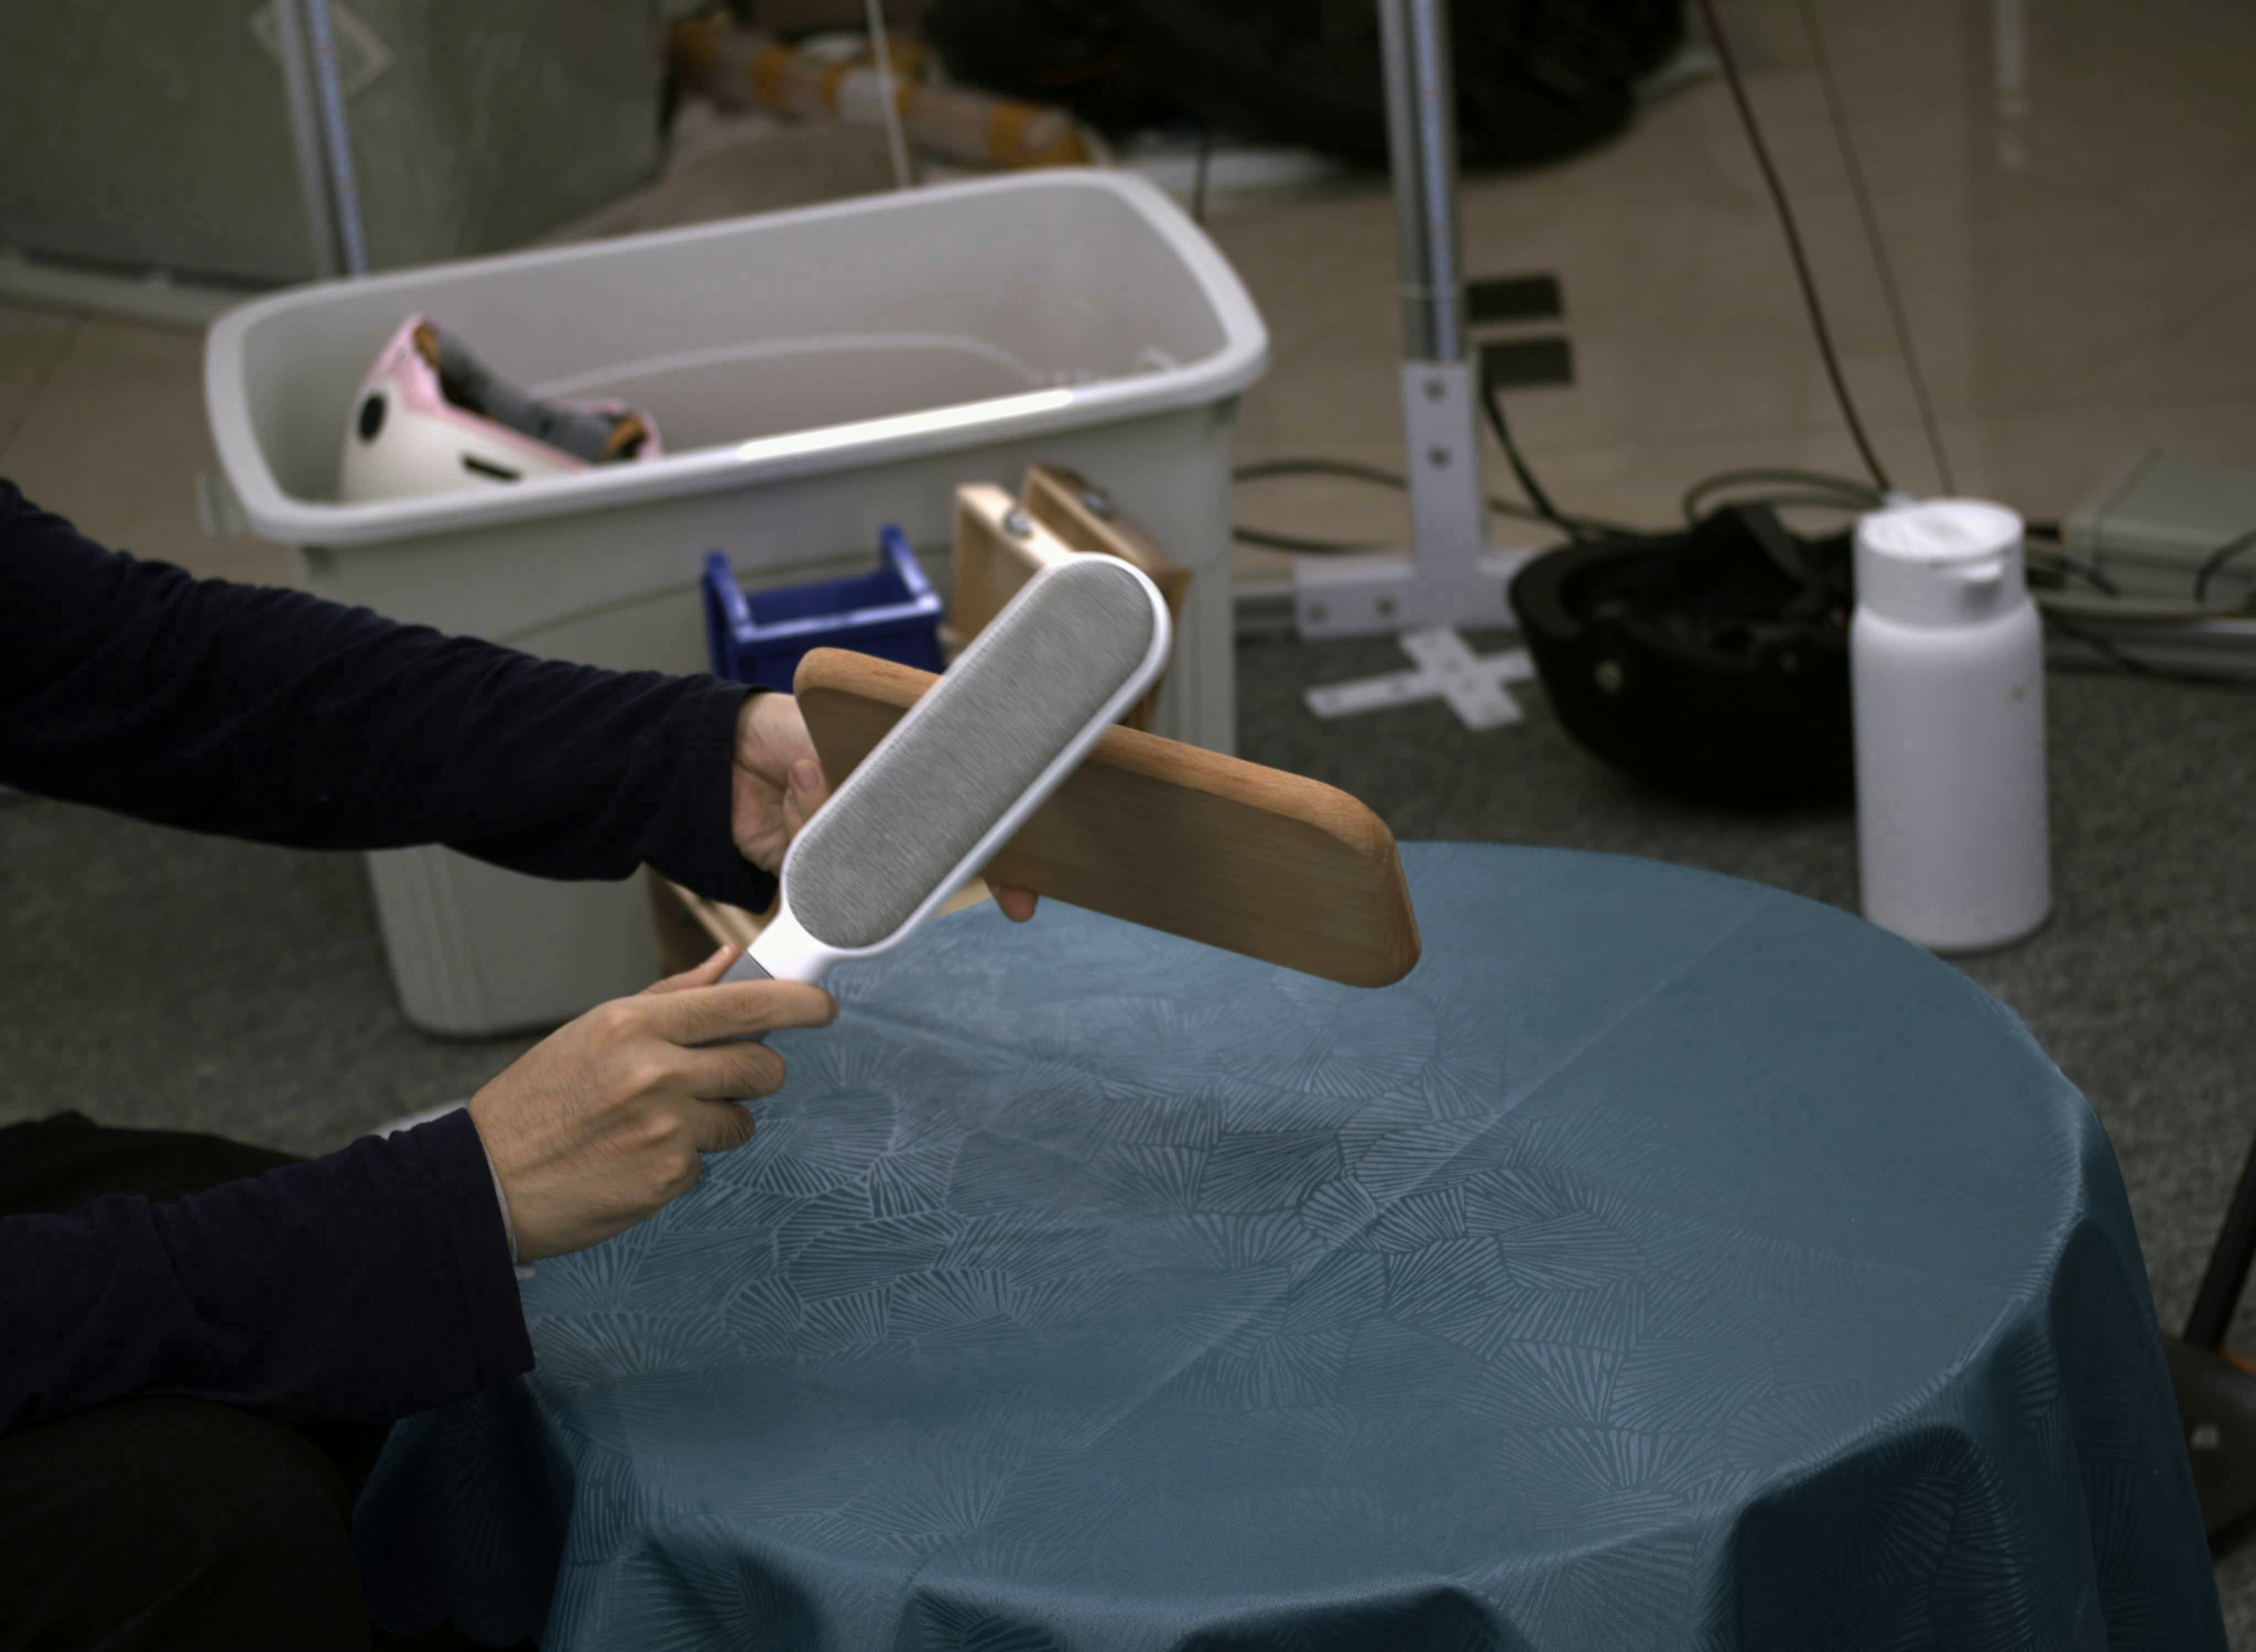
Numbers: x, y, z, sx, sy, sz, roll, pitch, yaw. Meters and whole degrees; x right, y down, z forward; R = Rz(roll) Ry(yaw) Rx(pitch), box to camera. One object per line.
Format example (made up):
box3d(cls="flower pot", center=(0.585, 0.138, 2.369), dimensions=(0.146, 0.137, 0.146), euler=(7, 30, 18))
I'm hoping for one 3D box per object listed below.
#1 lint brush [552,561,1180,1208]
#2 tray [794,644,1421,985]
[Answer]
box3d(cls="lint brush", center=(-0.098, 0.022, 2.041), dimensions=(0.309, 0.060, 0.021), euler=(-46, -8, 3))
box3d(cls="tray", center=(-0.010, -0.003, 2.151), dimensions=(0.249, 0.133, 0.022), euler=(15, 59, 23))
